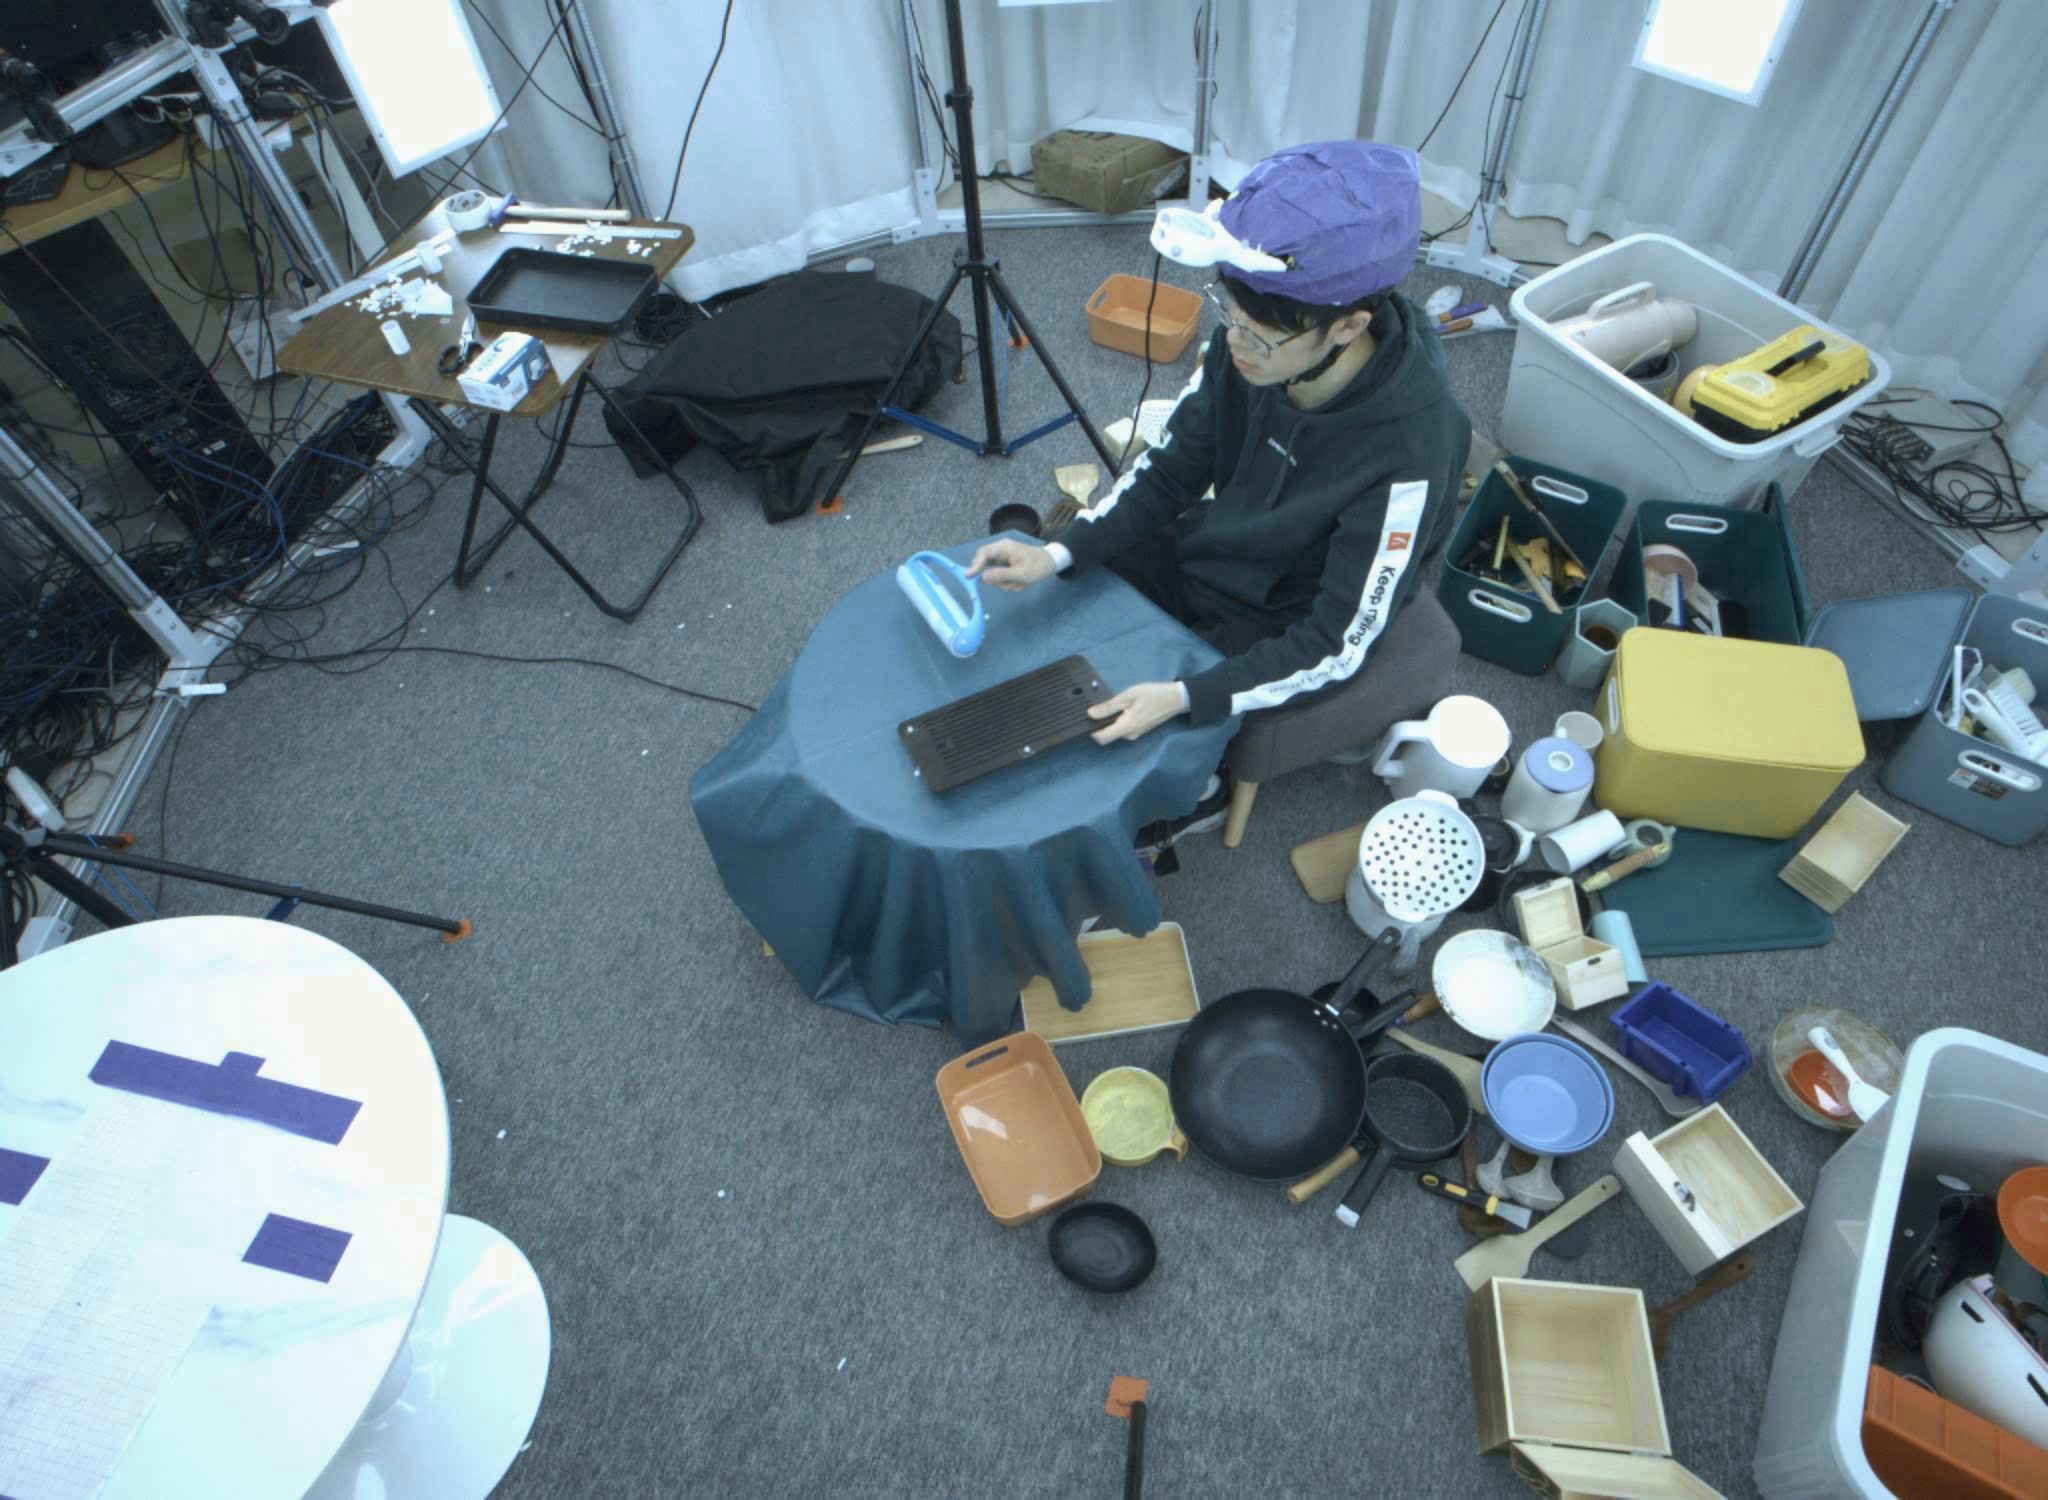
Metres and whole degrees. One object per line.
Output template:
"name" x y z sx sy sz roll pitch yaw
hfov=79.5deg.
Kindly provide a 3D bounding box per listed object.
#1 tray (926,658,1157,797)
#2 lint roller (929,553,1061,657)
"tray" 0.024 -0.034 1.772 0.308 0.019 0.166 -20 44 -12
"lint roller" -0.030 -0.242 1.854 0.181 0.069 0.224 -29 48 -13
